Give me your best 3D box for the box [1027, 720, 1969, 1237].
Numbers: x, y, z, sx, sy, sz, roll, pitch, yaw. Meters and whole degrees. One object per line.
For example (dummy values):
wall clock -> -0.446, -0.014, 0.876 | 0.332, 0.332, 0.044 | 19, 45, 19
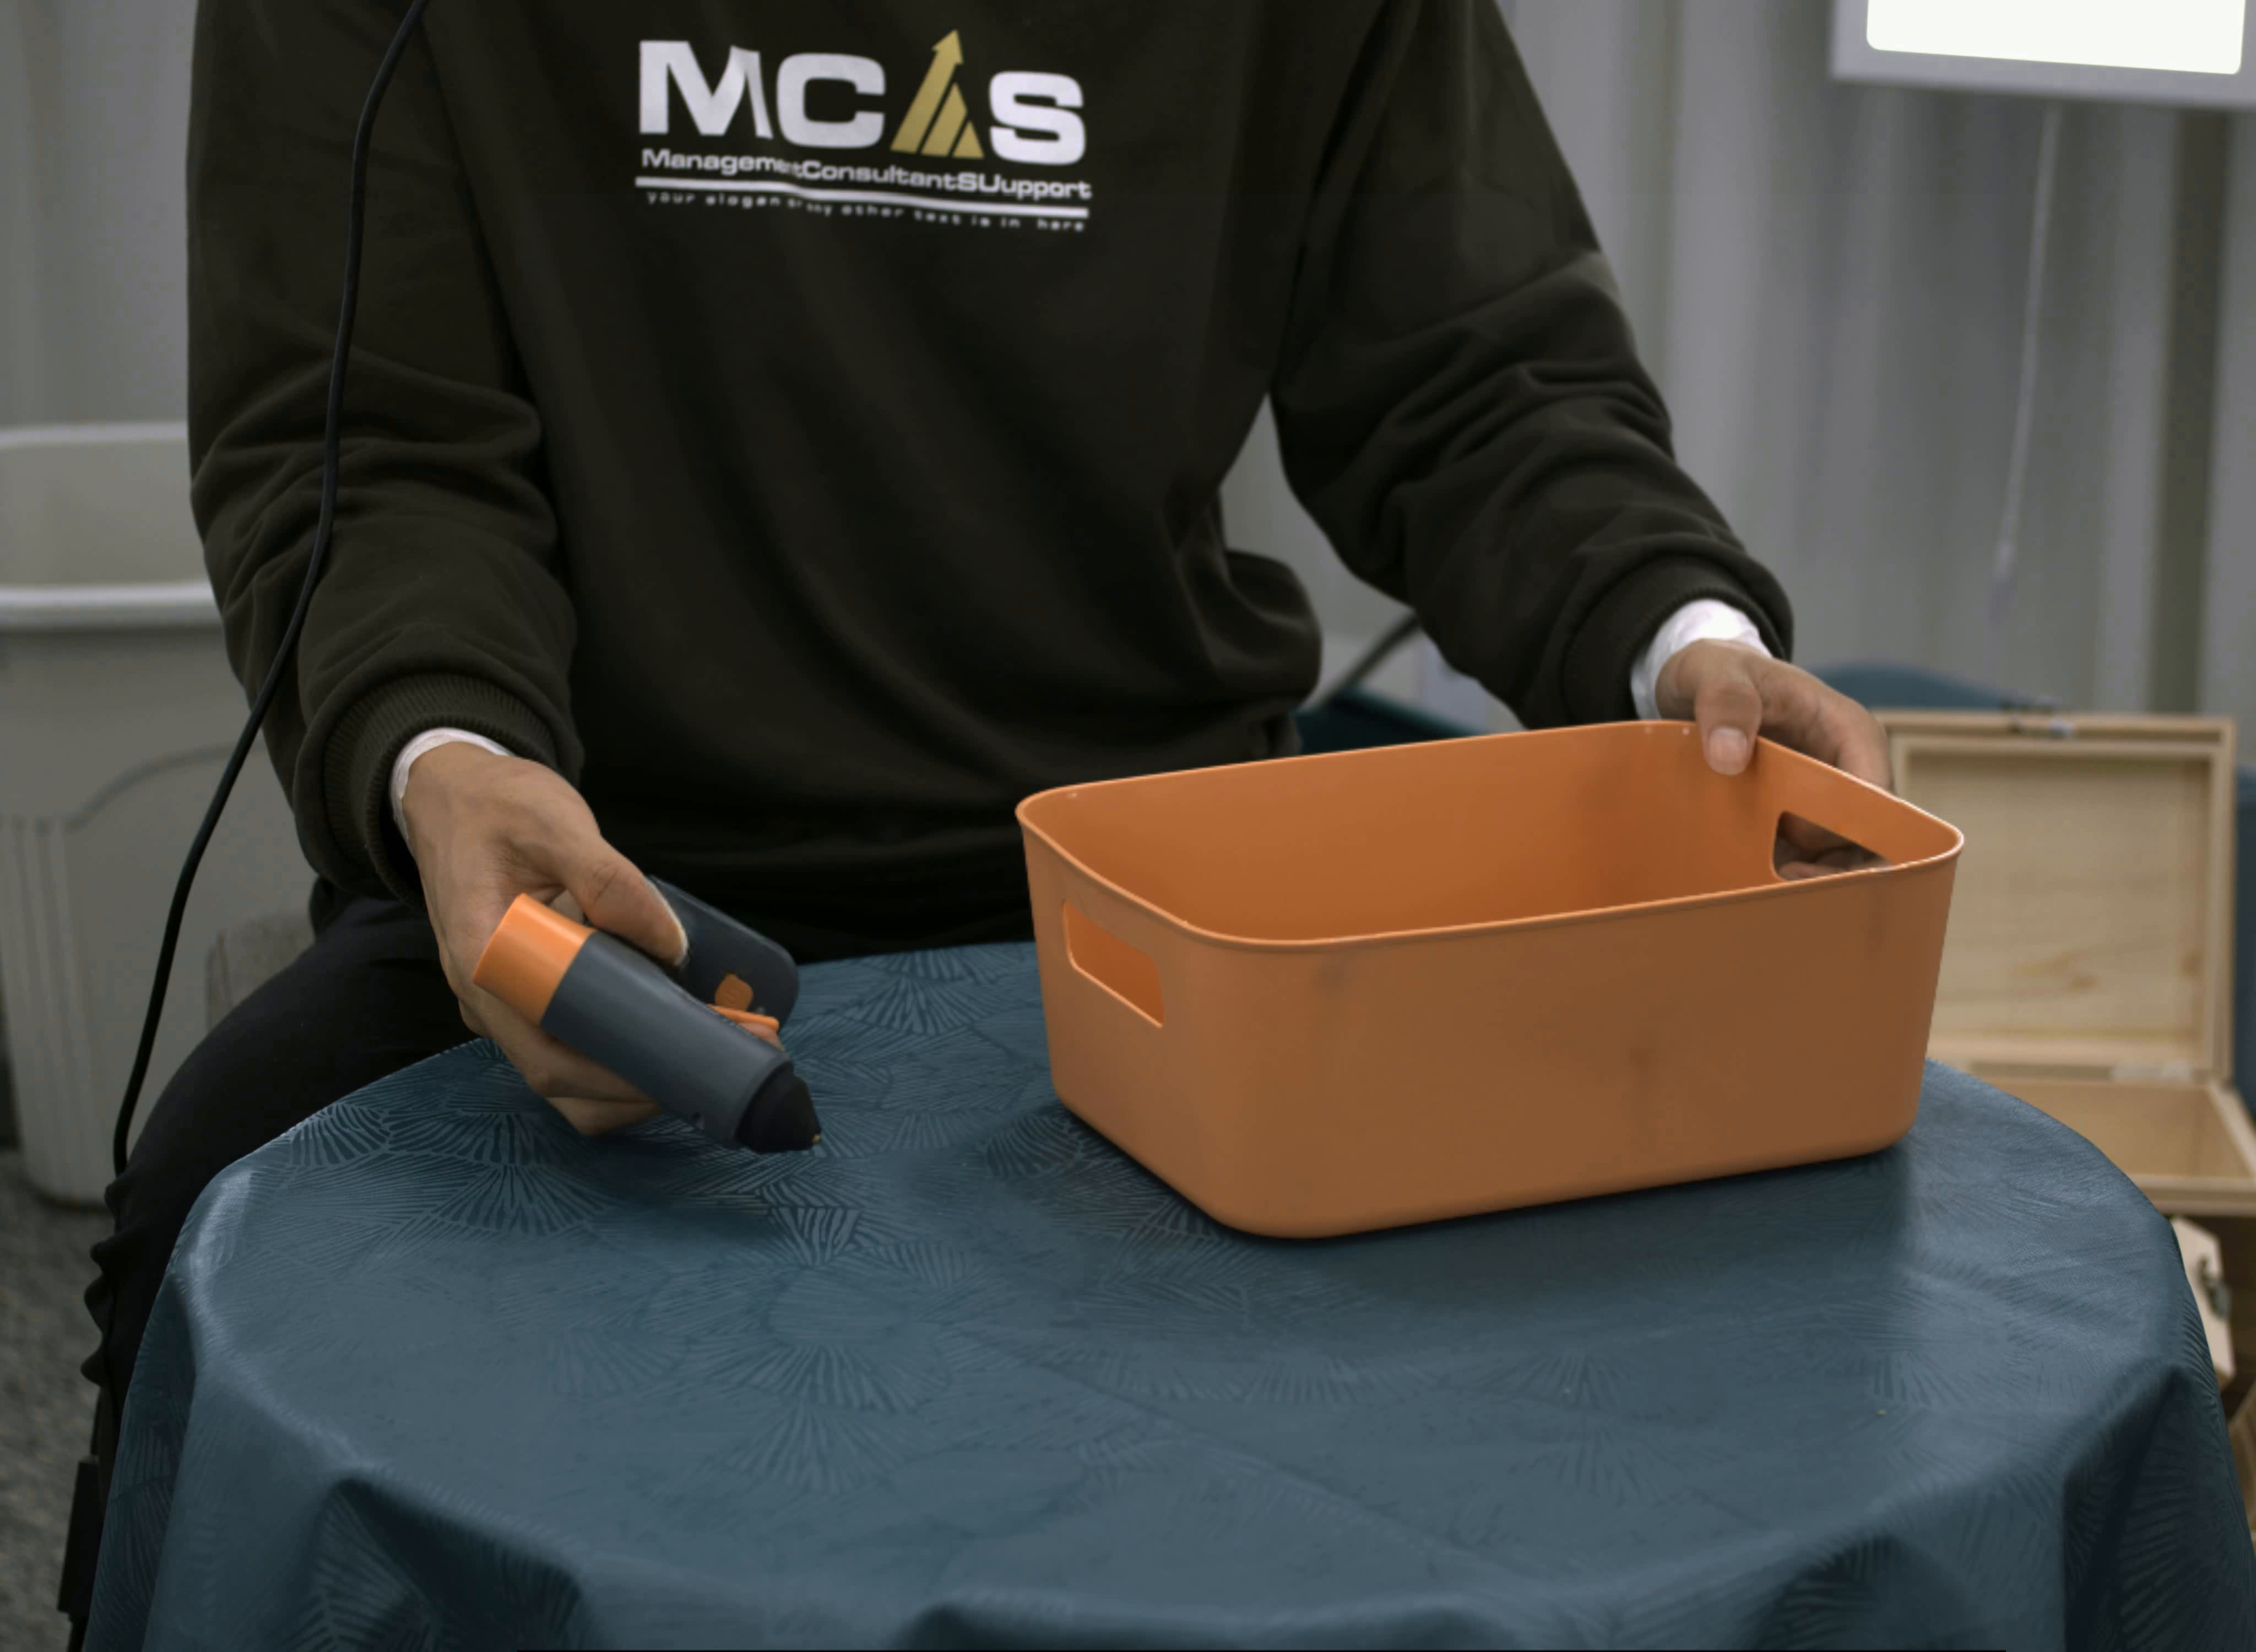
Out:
box -> 0.114, 0.046, 1.679 | 0.274, 0.103, 0.197 | -7, 18, -24

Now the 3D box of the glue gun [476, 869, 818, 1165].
glue gun -> -0.142, 0.059, 1.654 | 0.118, 0.041, 0.139 | 33, 9, -4
